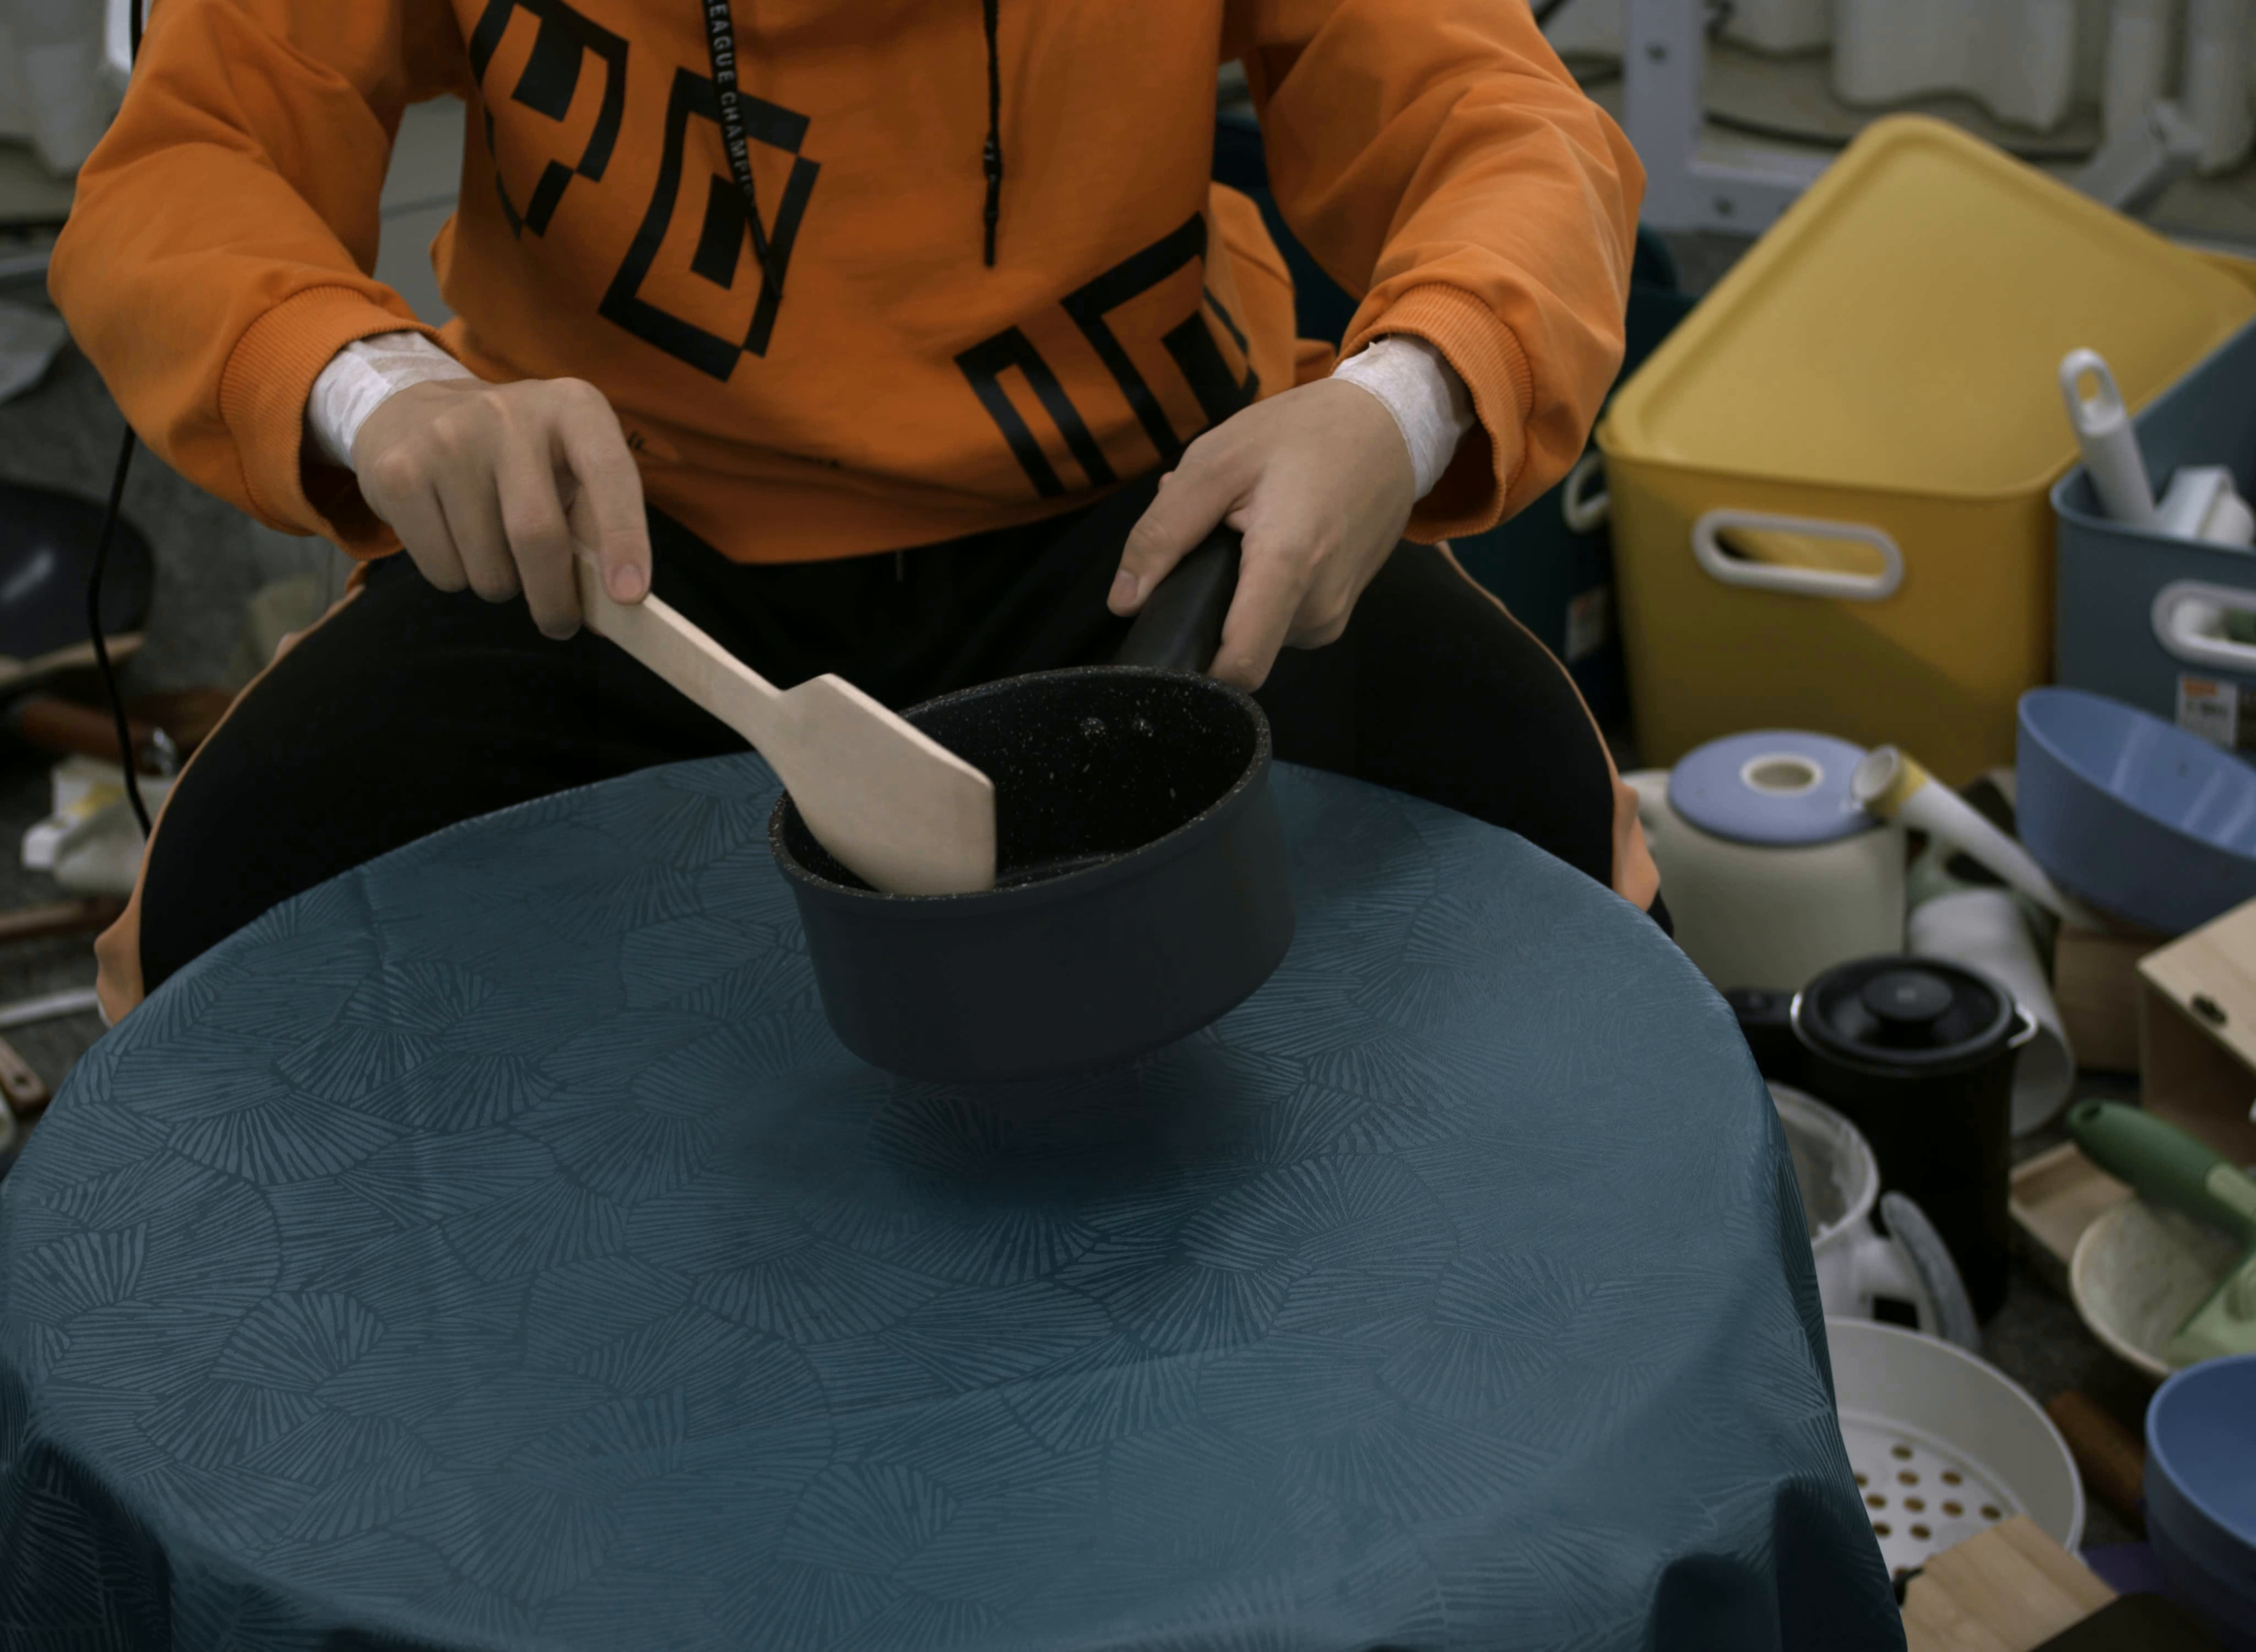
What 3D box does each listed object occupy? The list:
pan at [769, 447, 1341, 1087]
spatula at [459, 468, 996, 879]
[{"bbox_3d":[0.002,-0.023,1.943,0.170,0.085,0.334,1,29,26],"label":"pan"},{"bbox_3d":[-0.141,-0.054,1.899,0.011,0.071,0.294,-26,43,-32],"label":"spatula"}]
